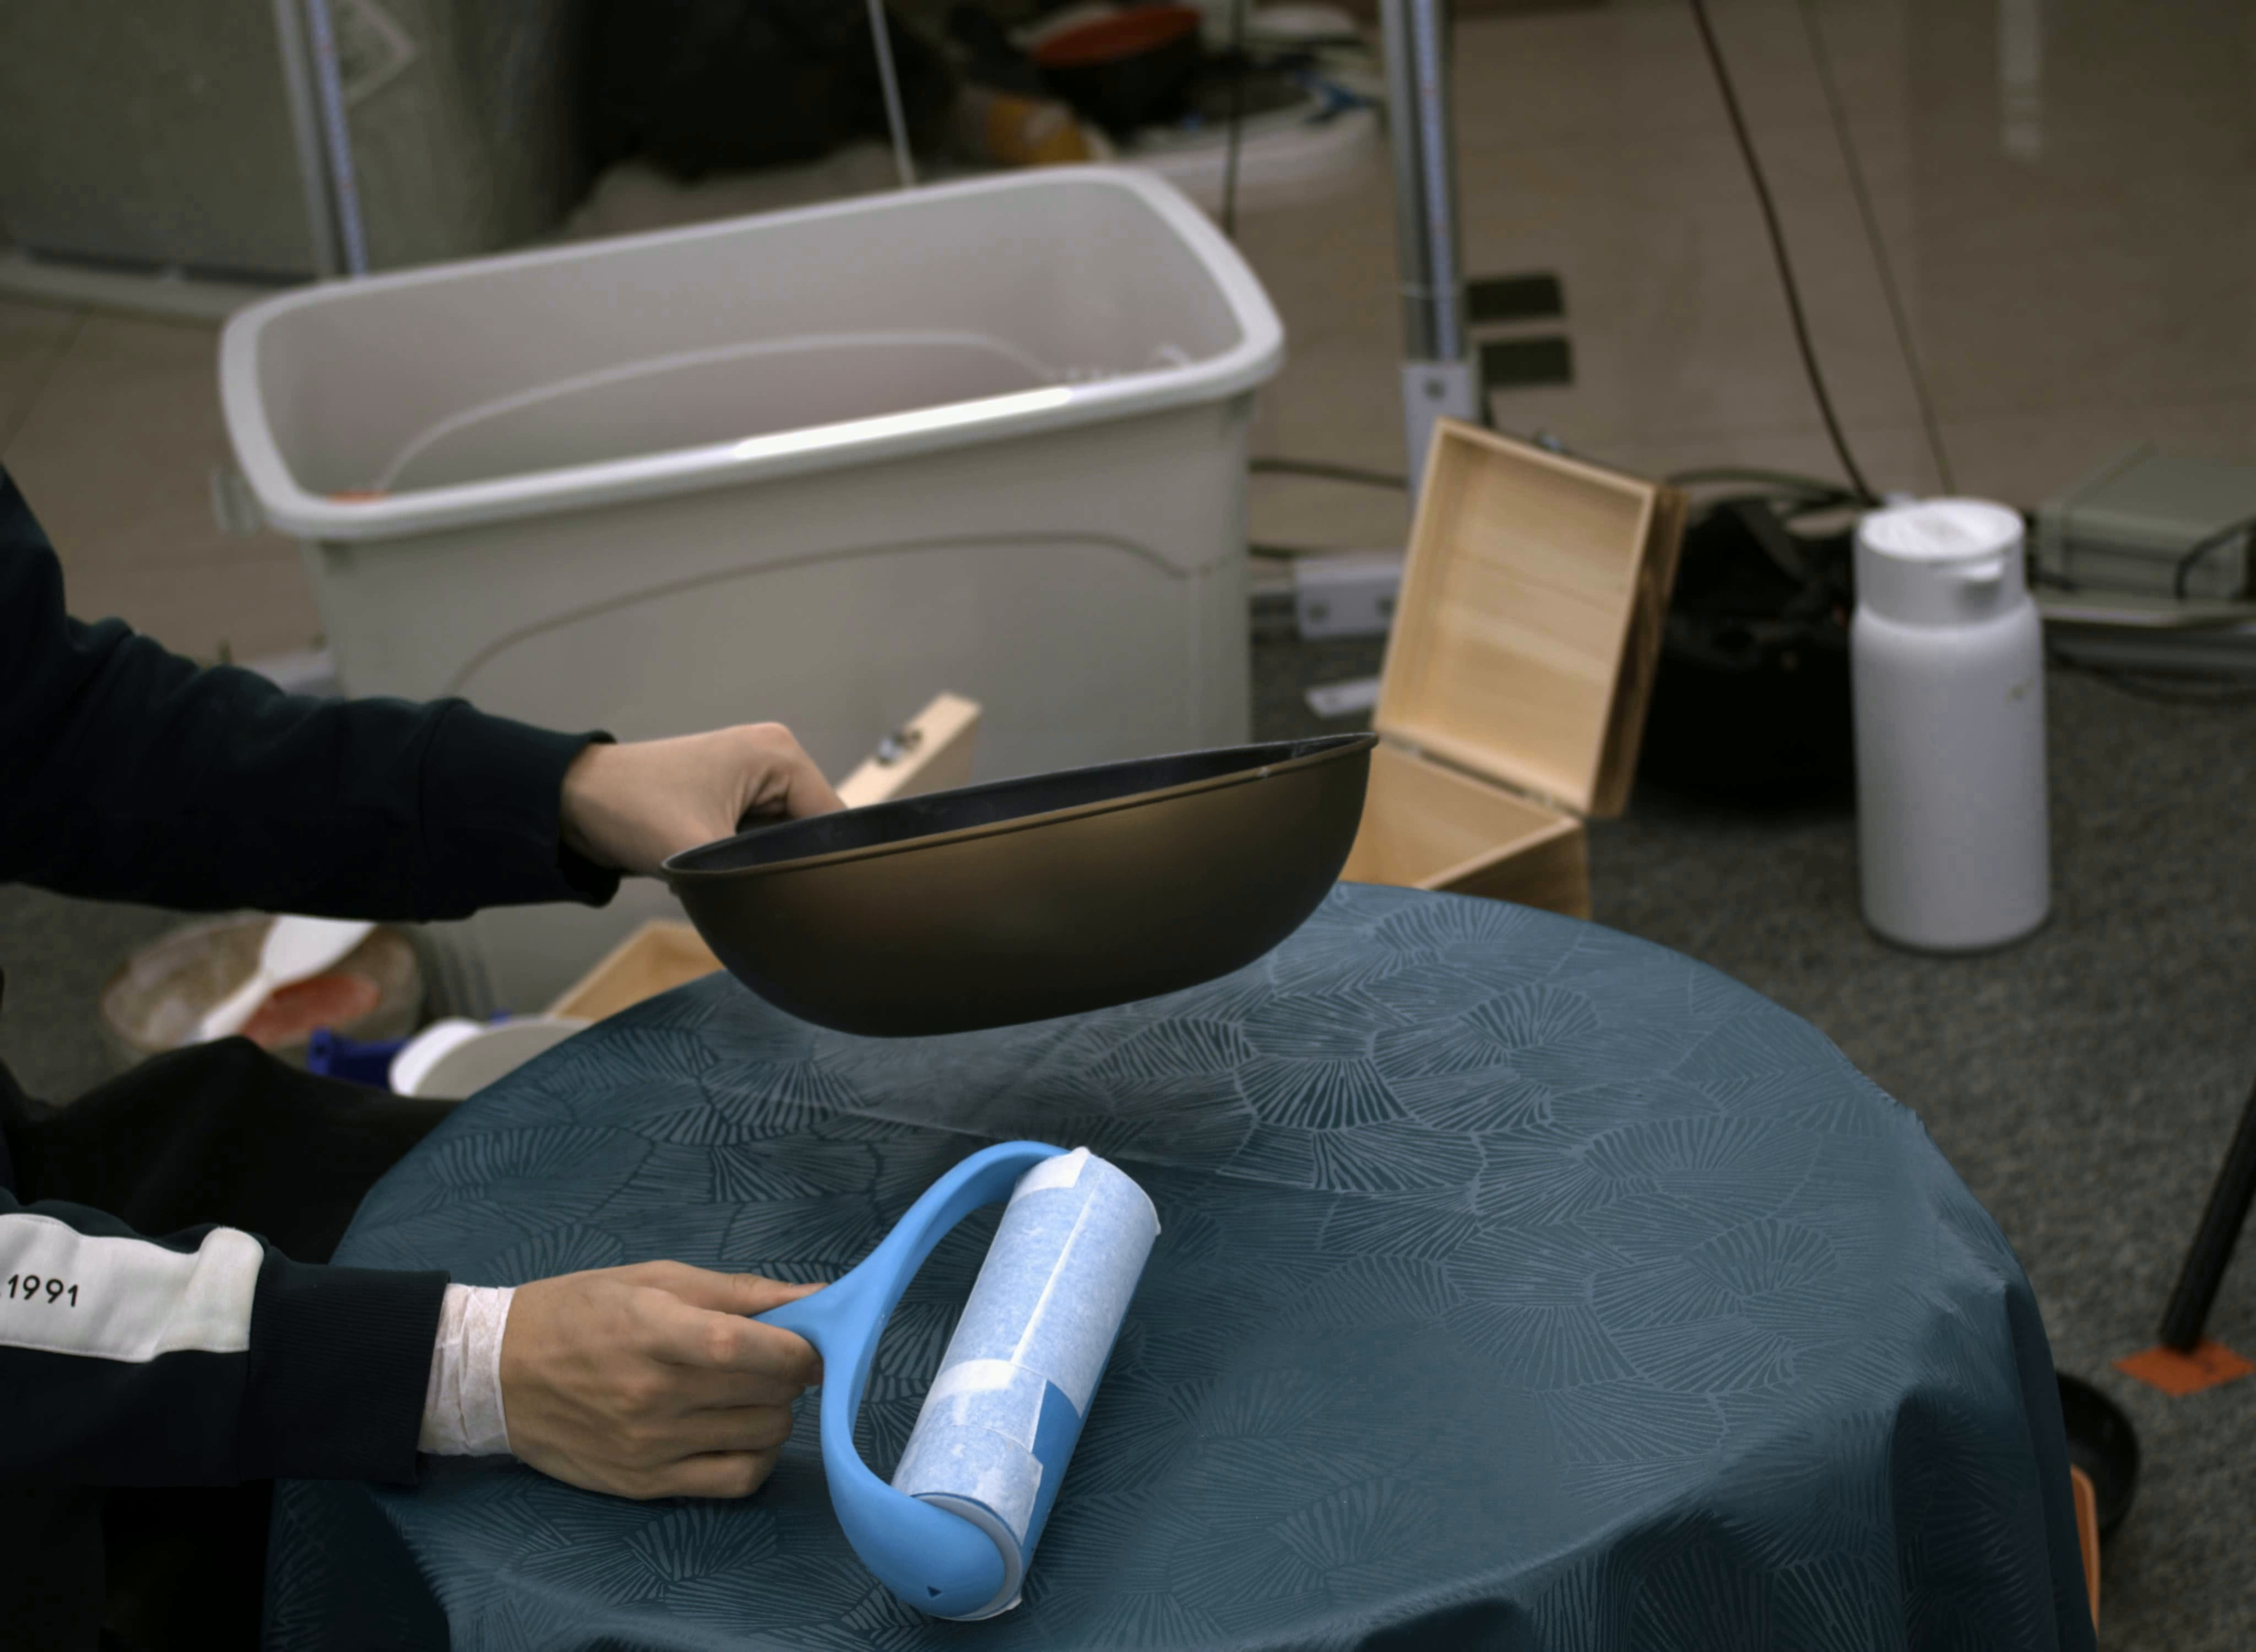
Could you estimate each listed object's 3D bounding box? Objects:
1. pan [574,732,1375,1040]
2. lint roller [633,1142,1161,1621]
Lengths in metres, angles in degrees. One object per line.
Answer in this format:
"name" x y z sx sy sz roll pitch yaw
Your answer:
"pan" -0.092 0.034 2.237 0.287 0.087 0.463 -12 3 -37
"lint roller" -0.092 0.192 1.962 0.180 0.069 0.225 -3 34 14
